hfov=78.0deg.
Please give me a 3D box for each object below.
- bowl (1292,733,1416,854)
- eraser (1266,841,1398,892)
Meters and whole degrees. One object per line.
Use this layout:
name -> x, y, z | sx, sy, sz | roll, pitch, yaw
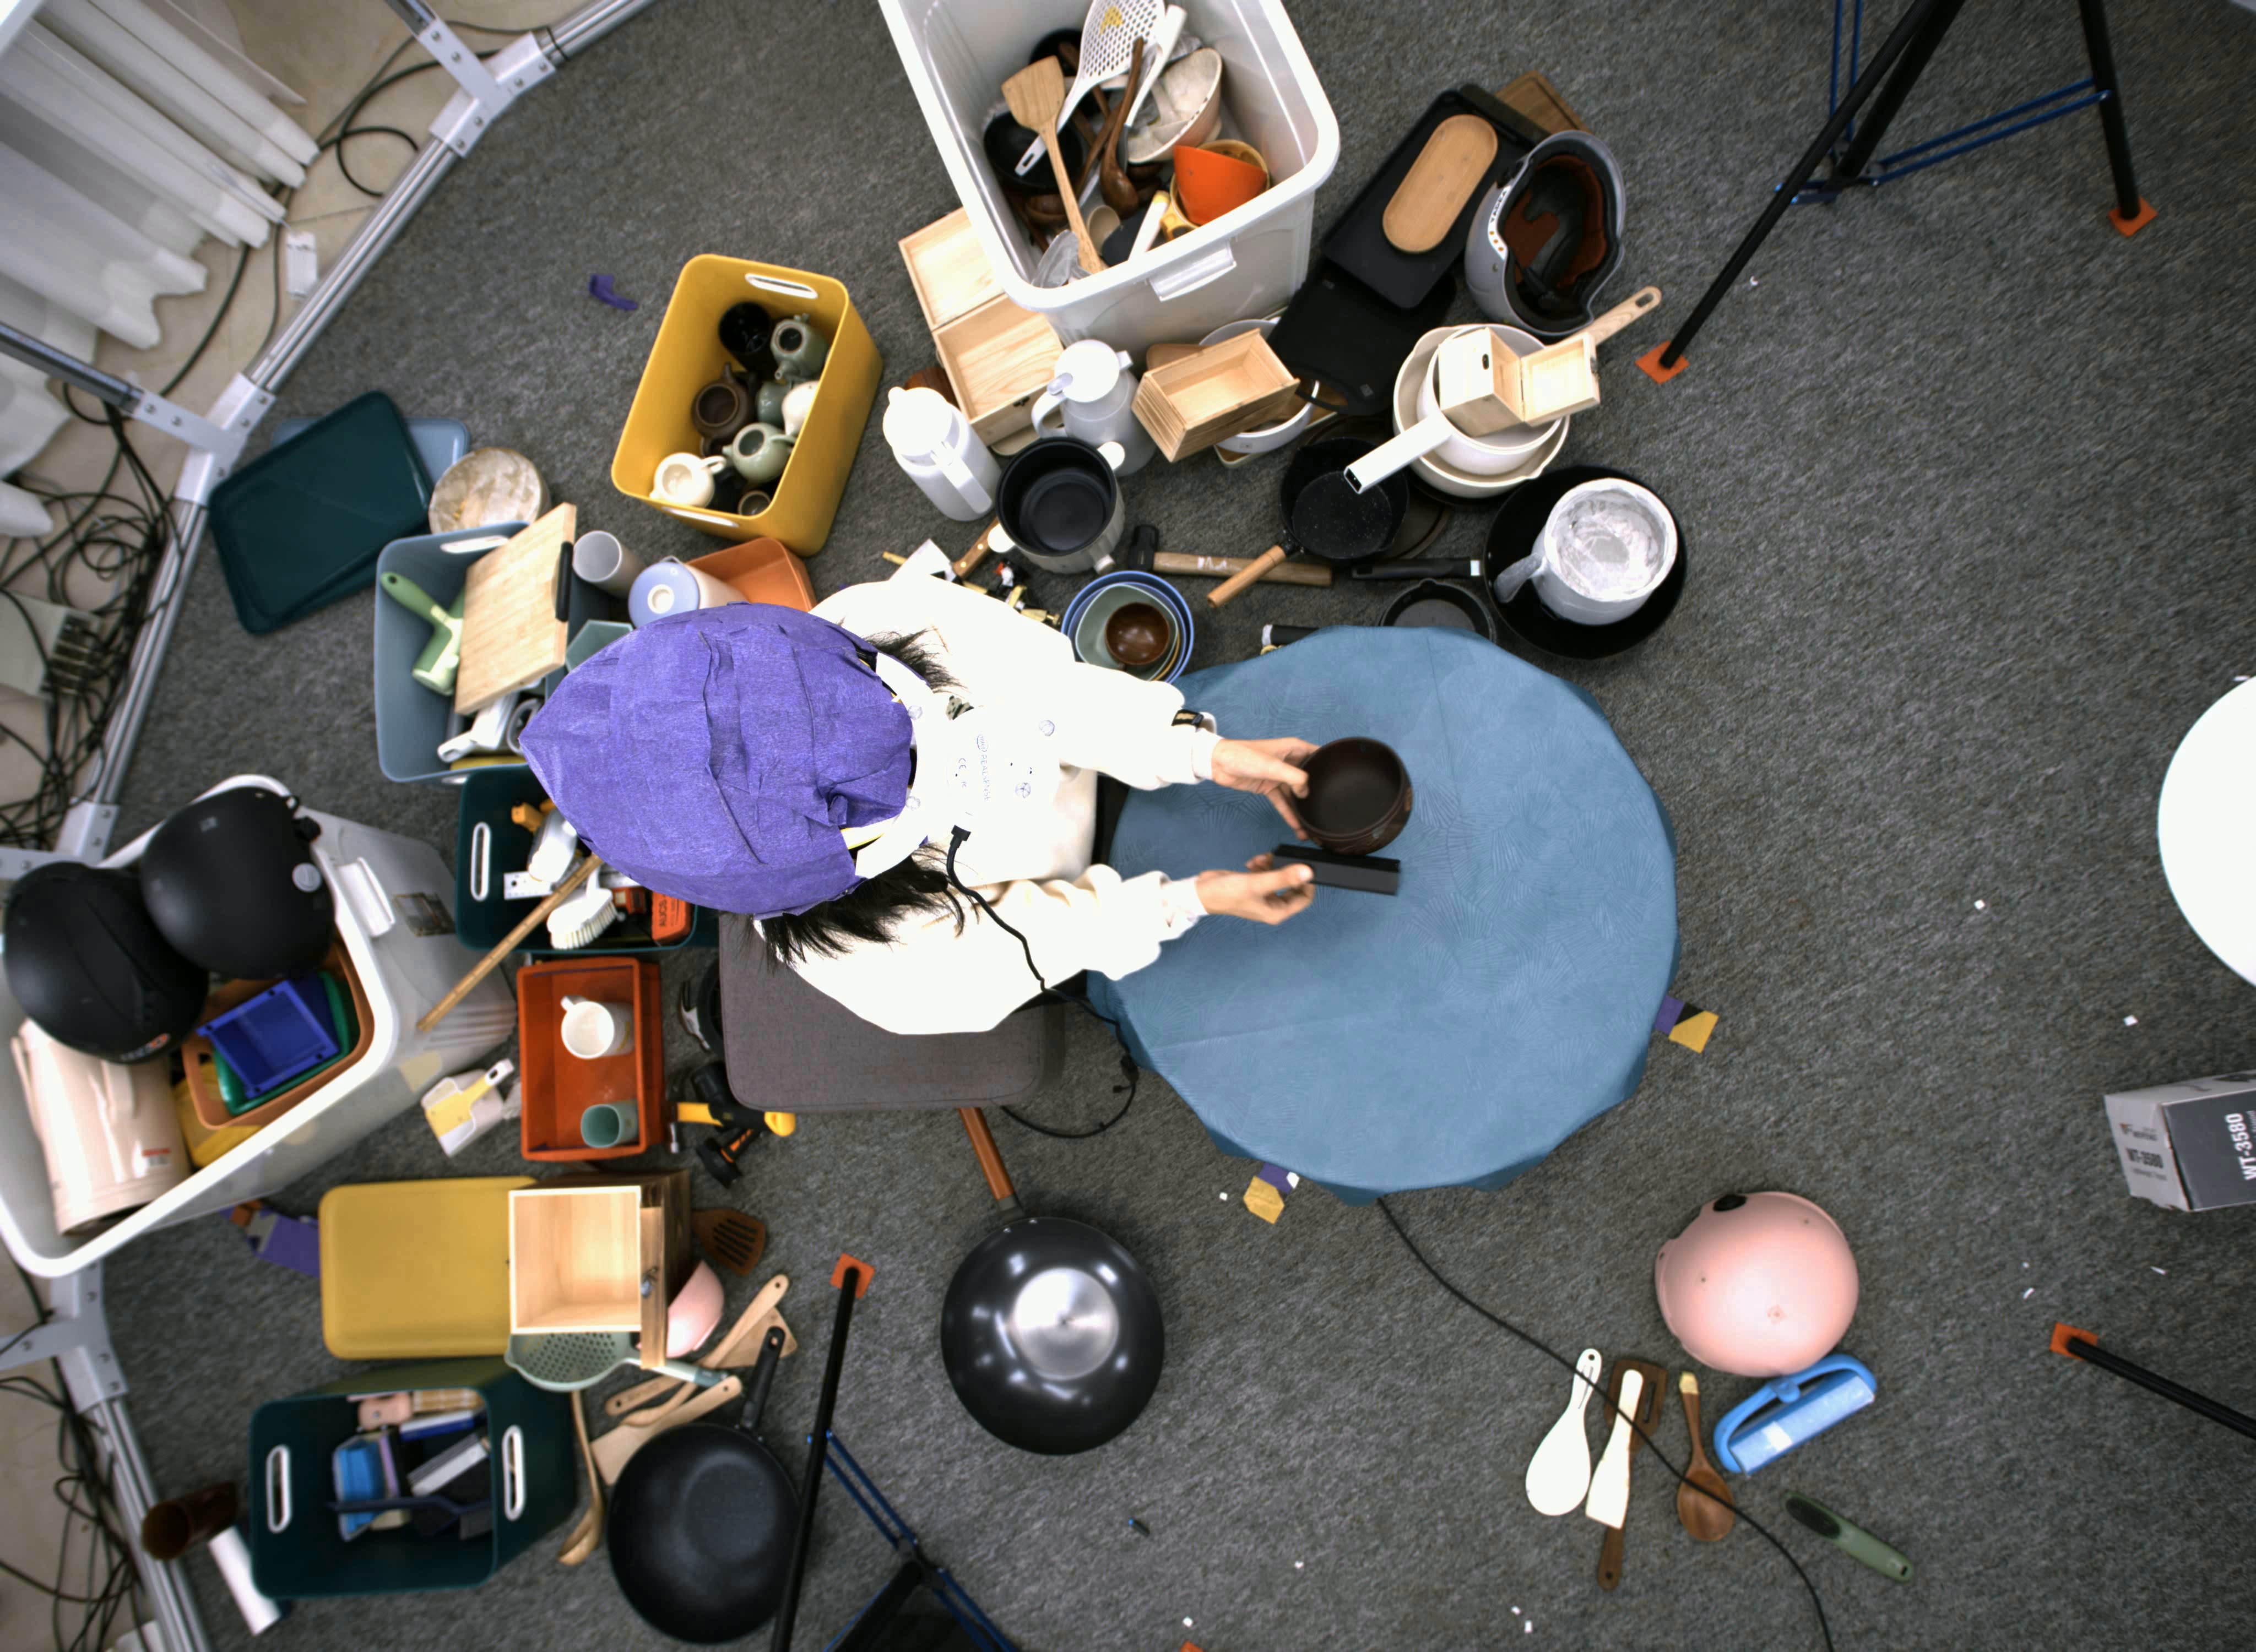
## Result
bowl -> 0.225, -0.025, 1.346 | 0.119, 0.071, 0.115 | -14, 56, 21
eraser -> 0.200, 0.038, 1.342 | 0.126, 0.053, 0.030 | 9, 96, 14
